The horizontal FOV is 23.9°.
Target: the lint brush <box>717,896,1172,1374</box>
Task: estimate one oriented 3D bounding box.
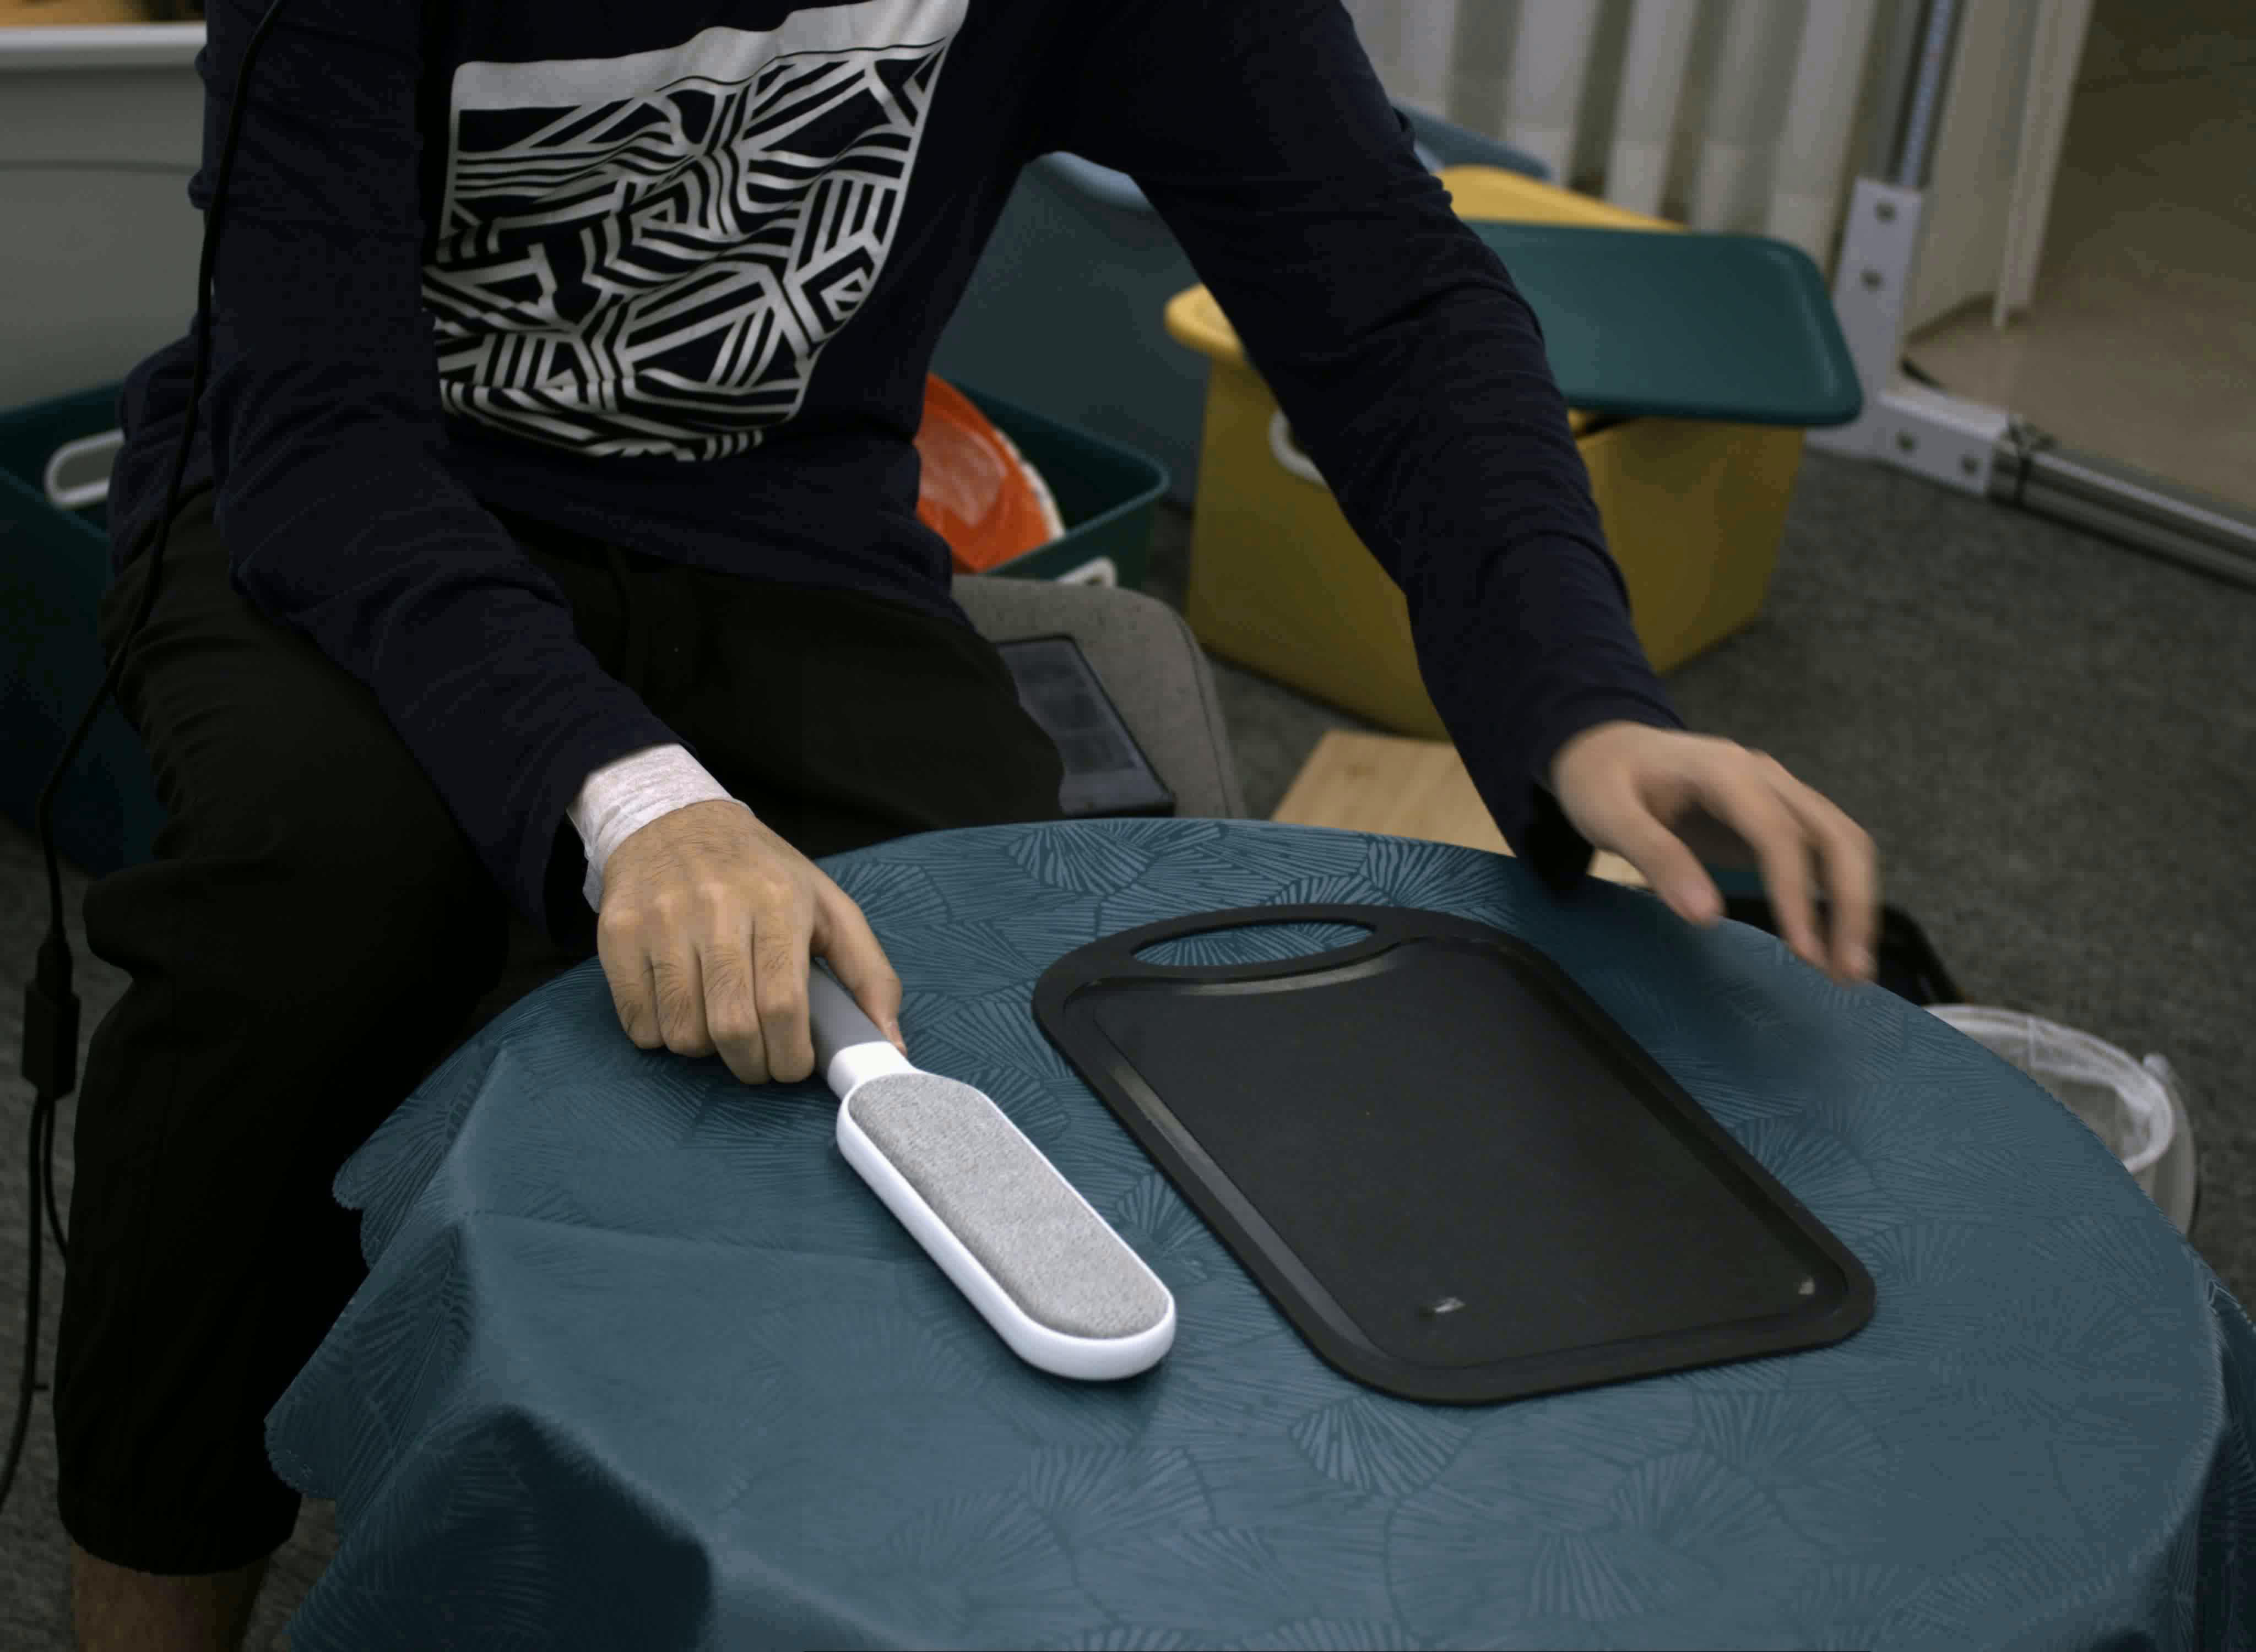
[{"bbox_3d":[-0.070,0.100,1.807,0.060,0.021,0.312,-13,32,-24],"label":"lint brush"}]

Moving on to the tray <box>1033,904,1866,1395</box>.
[{"bbox_3d":[0.103,0.104,1.862,0.210,0.010,0.328,-6,29,-24],"label":"tray"}]
